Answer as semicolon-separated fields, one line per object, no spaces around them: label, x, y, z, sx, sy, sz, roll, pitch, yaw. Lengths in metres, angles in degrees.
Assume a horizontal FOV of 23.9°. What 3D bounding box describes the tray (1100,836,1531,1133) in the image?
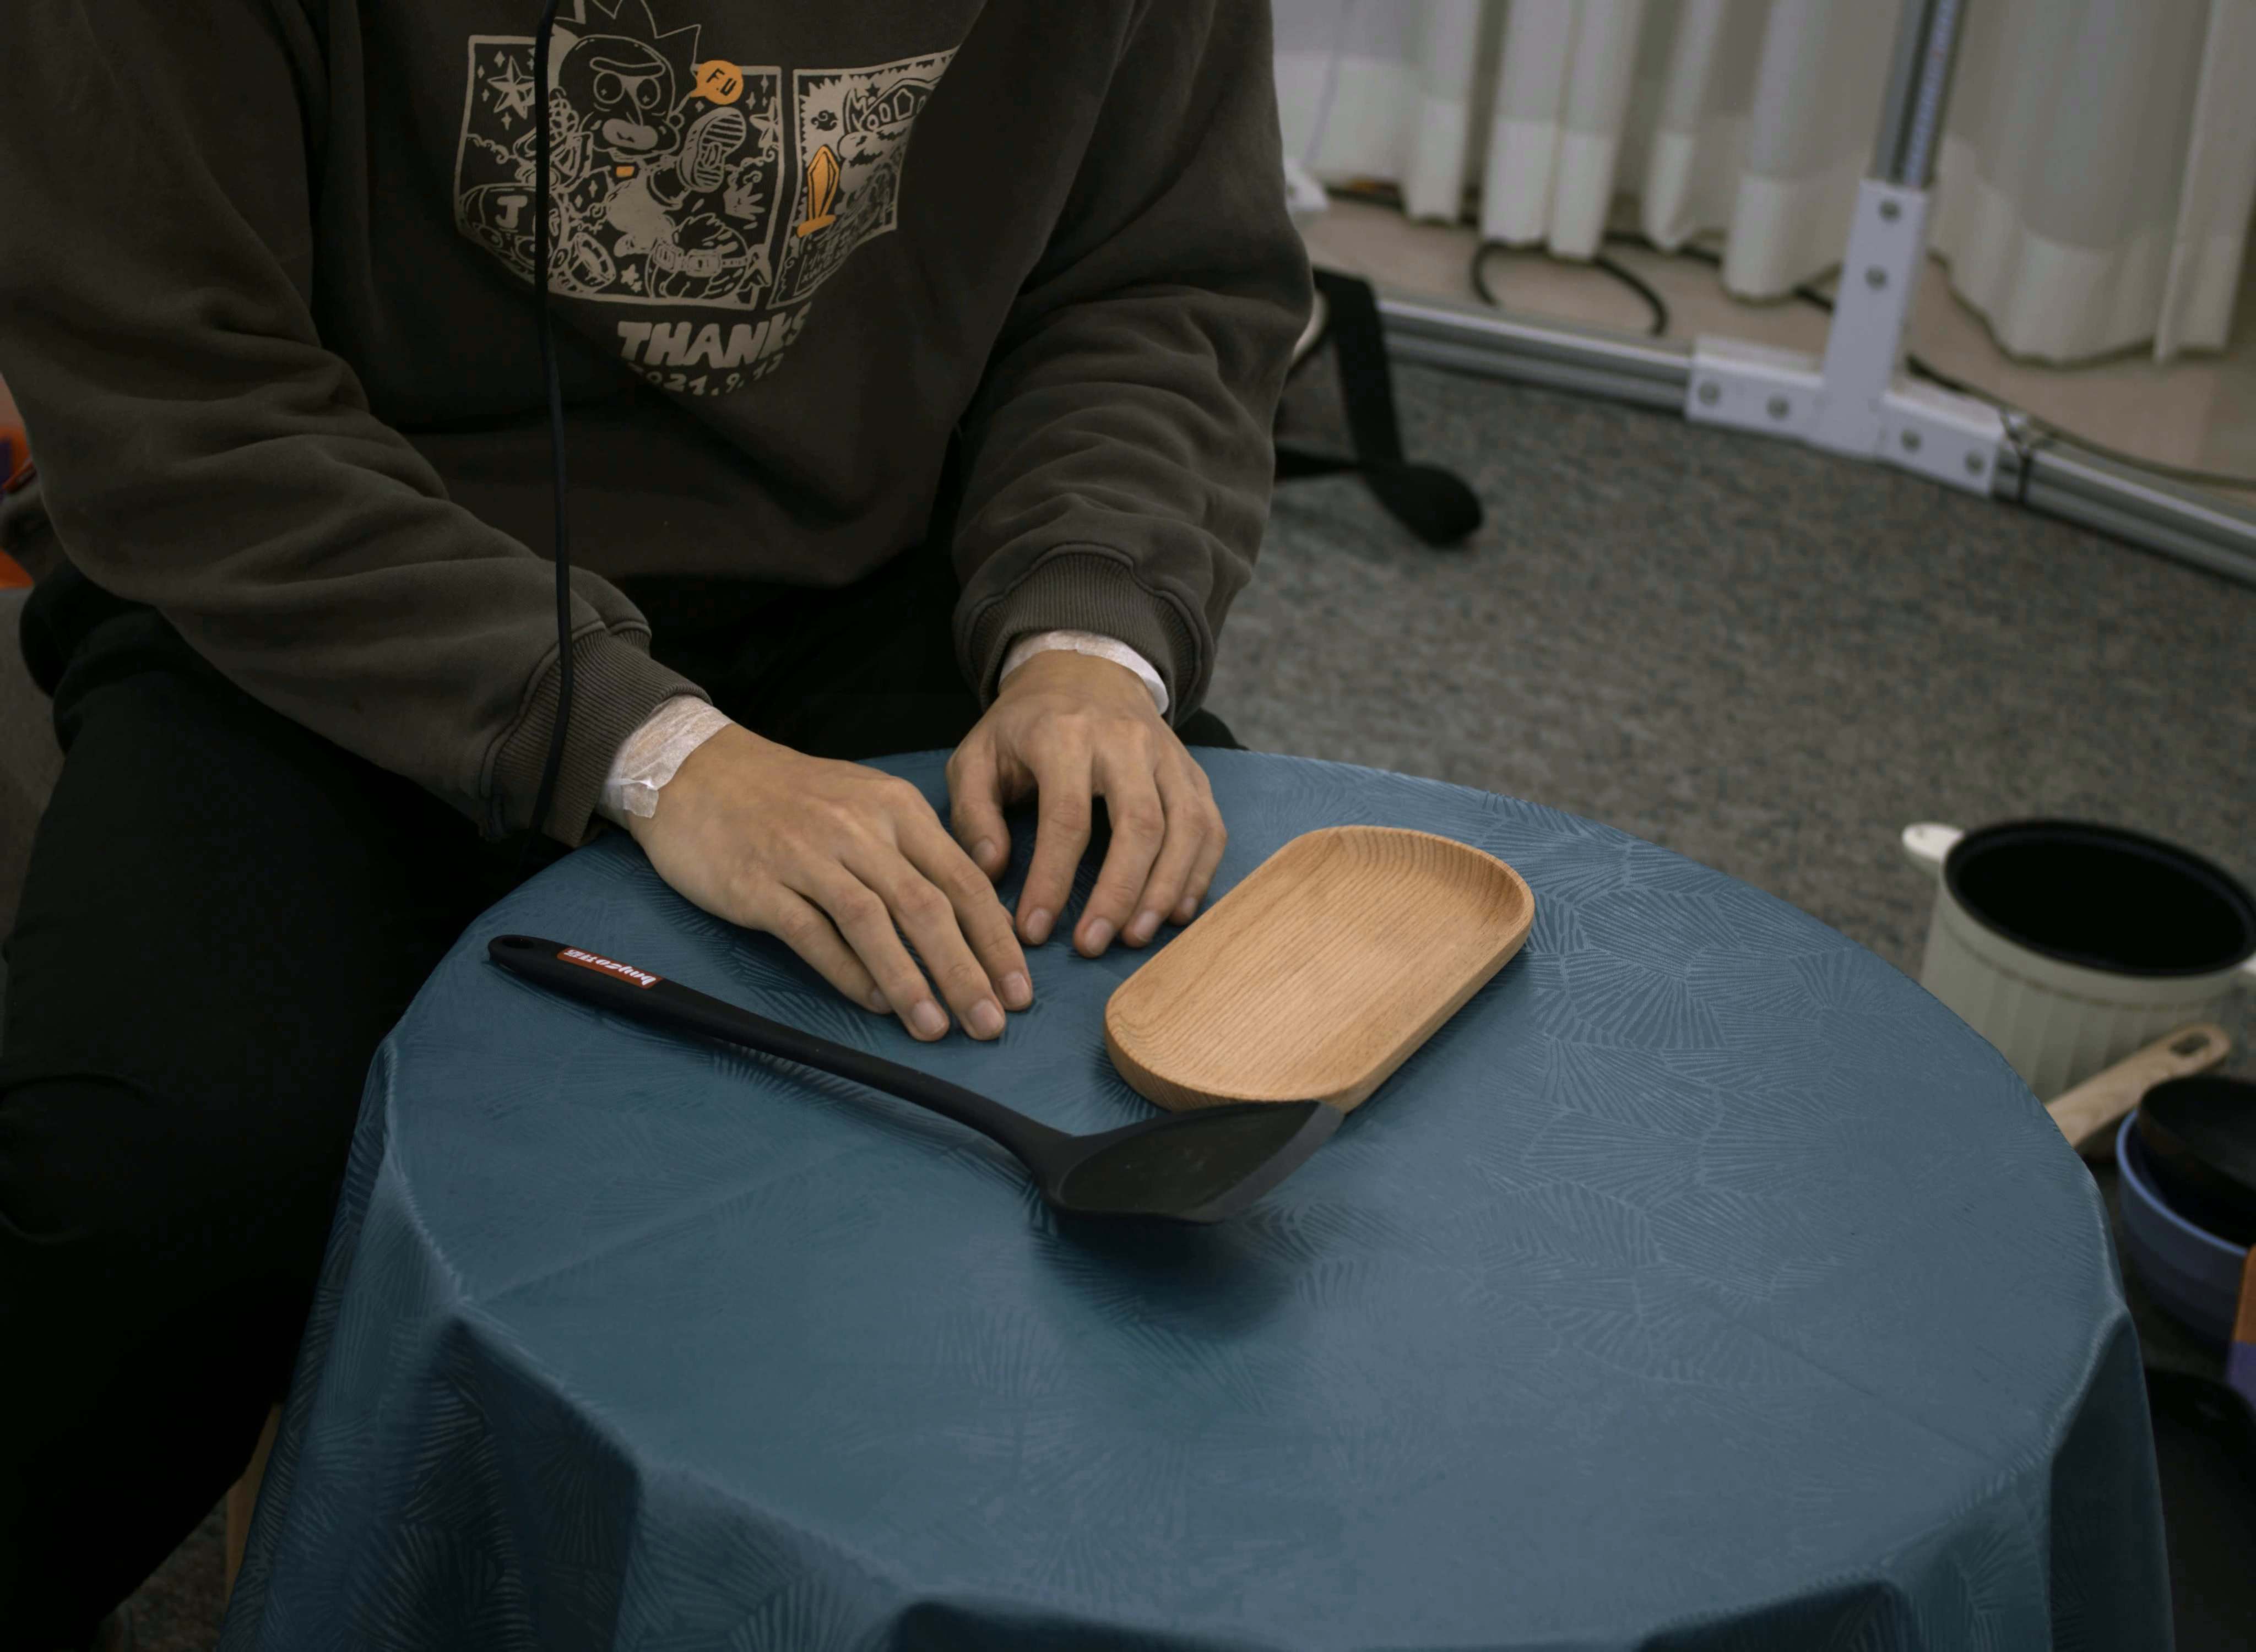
tray;0.070;0.056;1.936;0.102;0.020;0.231;18;30;22

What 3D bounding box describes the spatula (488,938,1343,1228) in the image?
spatula;-0.086;0.080;1.830;0.327;0.040;0.099;20;28;24
